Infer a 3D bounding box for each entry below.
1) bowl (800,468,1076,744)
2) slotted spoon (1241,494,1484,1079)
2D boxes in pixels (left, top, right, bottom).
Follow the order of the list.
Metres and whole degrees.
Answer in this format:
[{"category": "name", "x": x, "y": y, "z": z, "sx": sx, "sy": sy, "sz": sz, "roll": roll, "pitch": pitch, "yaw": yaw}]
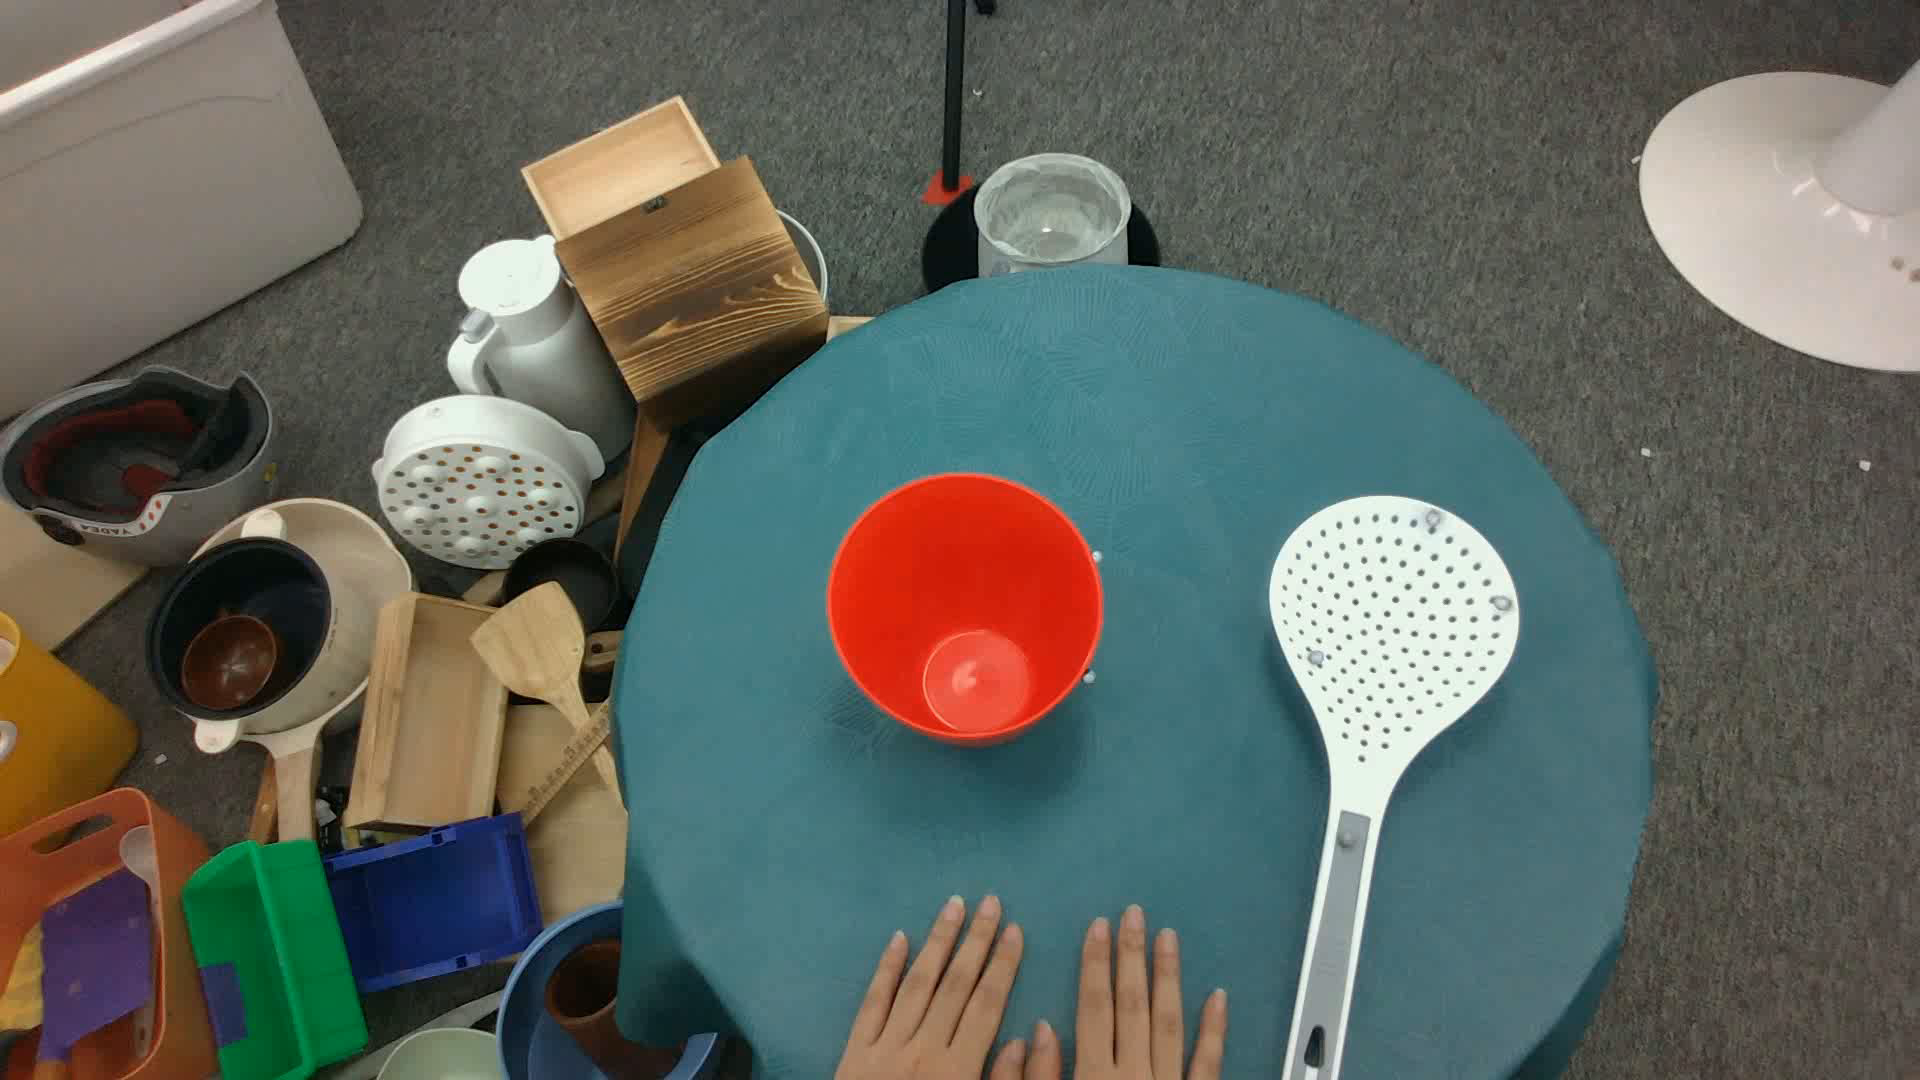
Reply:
[{"category": "bowl", "x": -0.012, "y": 0.049, "z": 0.769, "sx": 0.148, "sy": 0.104, "sz": 0.148, "roll": 1, "pitch": 60, "yaw": -1}, {"category": "slotted spoon", "x": 0.200, "y": 0.132, "z": 0.751, "sx": 0.136, "sy": 0.045, "sz": 0.351, "roll": 14, "pitch": 61, "yaw": 10}]
